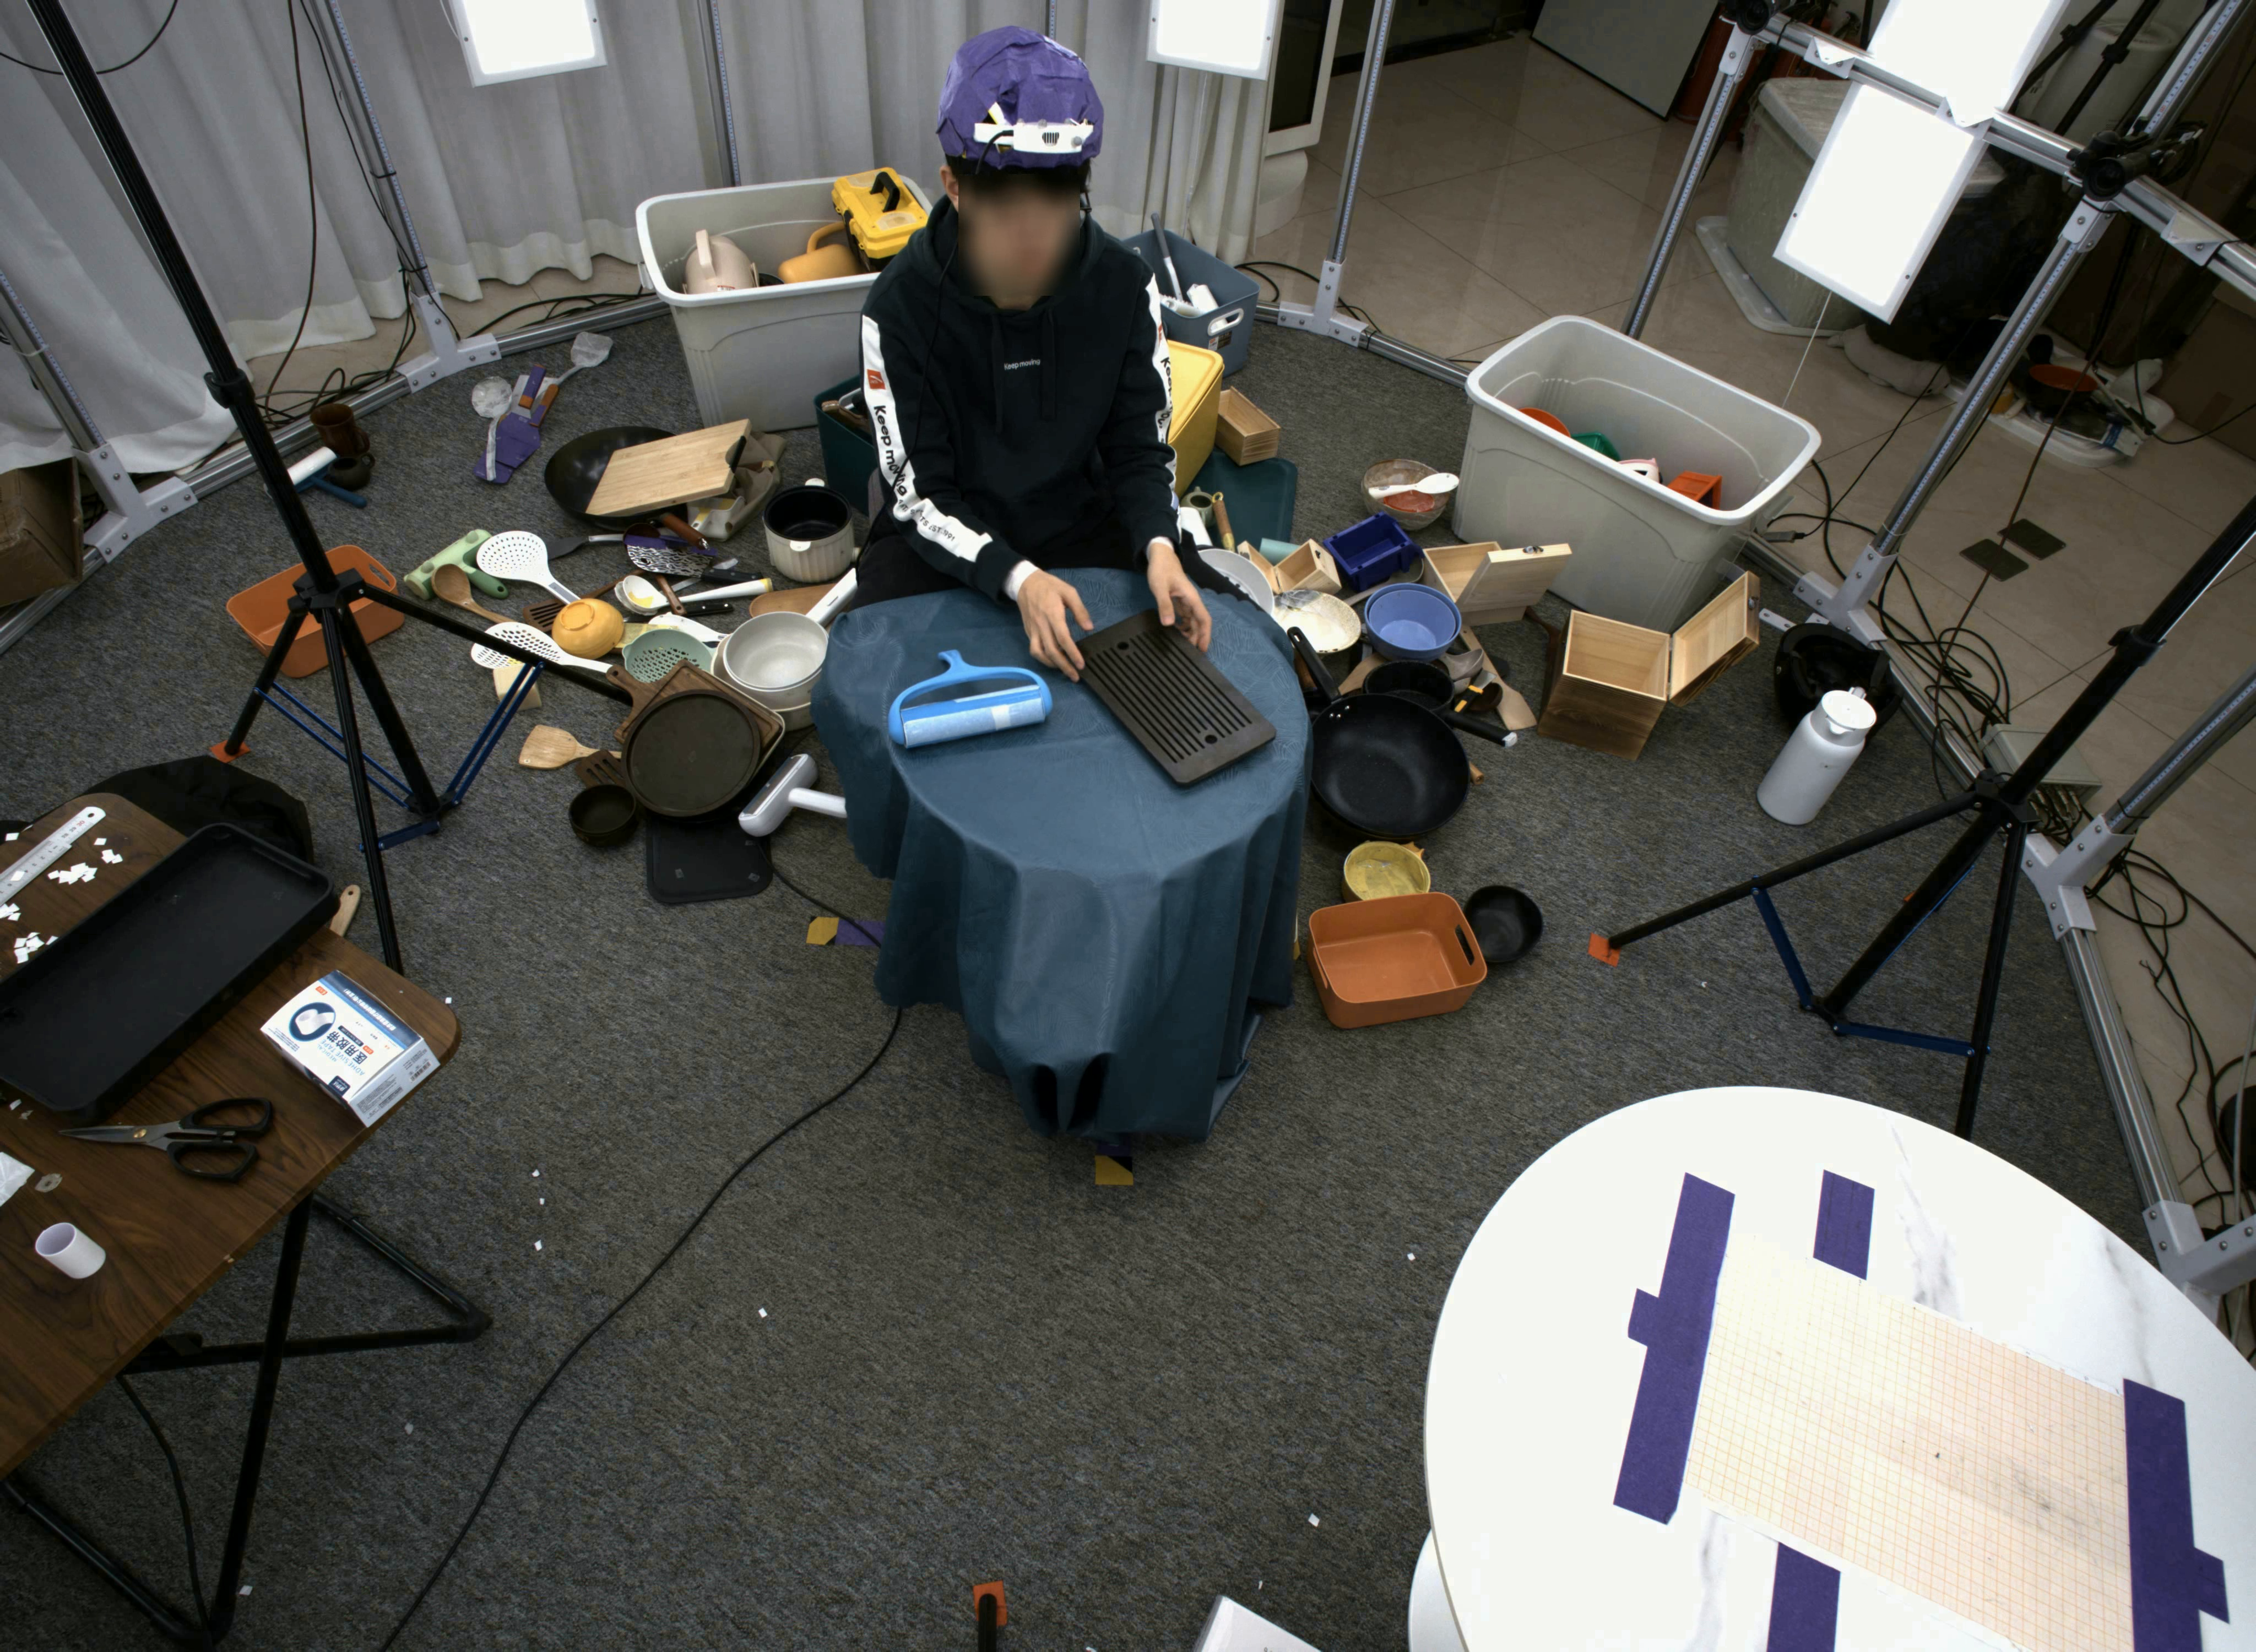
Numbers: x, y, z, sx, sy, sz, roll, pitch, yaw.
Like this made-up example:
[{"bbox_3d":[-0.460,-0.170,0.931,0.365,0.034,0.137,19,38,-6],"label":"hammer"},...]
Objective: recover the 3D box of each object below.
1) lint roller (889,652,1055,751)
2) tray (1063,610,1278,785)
[{"bbox_3d":[-0.232,-0.194,1.784,0.229,0.066,0.184,-16,54,-14],"label":"lint roller"},{"bbox_3d":[0.056,-0.186,1.816,0.171,0.018,0.312,-27,56,-21],"label":"tray"}]
